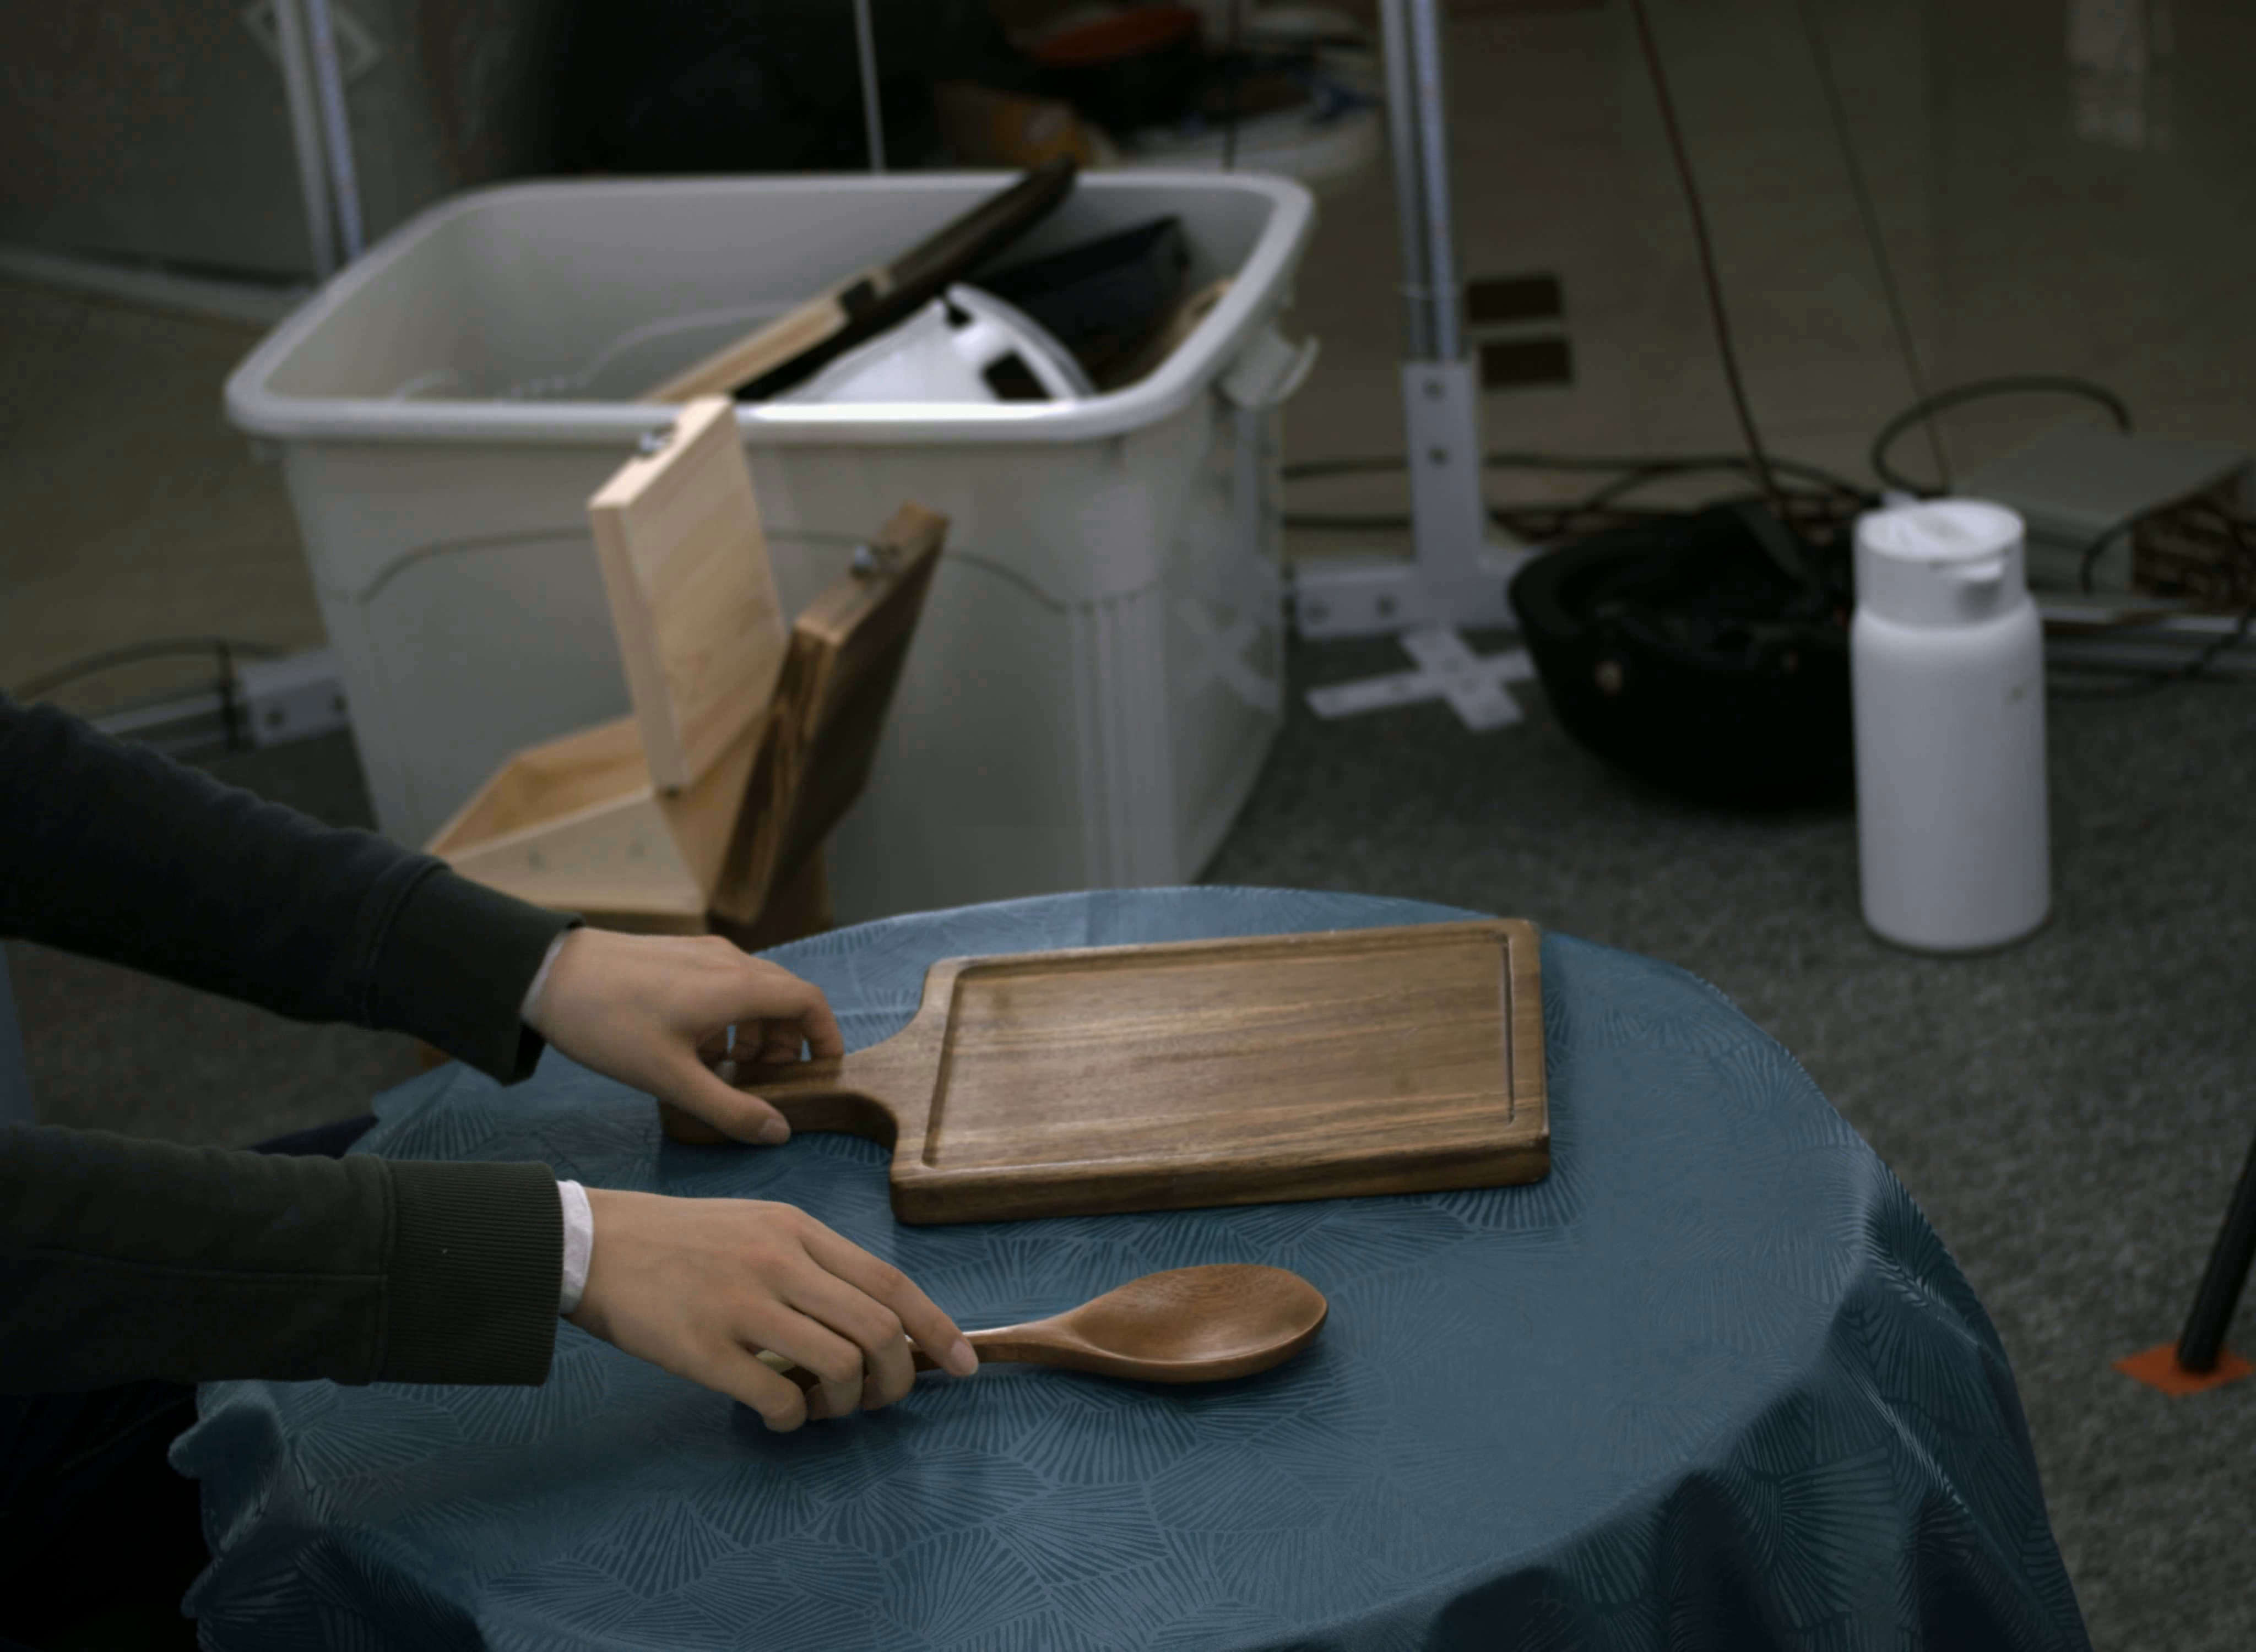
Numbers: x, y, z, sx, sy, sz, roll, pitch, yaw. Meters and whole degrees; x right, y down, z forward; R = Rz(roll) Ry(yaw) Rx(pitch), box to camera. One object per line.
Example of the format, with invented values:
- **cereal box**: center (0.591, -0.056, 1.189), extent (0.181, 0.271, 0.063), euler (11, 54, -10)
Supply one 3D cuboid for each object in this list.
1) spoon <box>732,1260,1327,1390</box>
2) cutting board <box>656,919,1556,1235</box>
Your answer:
- **spoon**: center (-0.035, 0.186, 2.040), extent (0.215, 0.017, 0.074), euler (-5, 27, 3)
- **cutting board**: center (-0.011, 0.099, 2.220), extent (0.351, 0.023, 0.198), euler (-4, 26, 5)
